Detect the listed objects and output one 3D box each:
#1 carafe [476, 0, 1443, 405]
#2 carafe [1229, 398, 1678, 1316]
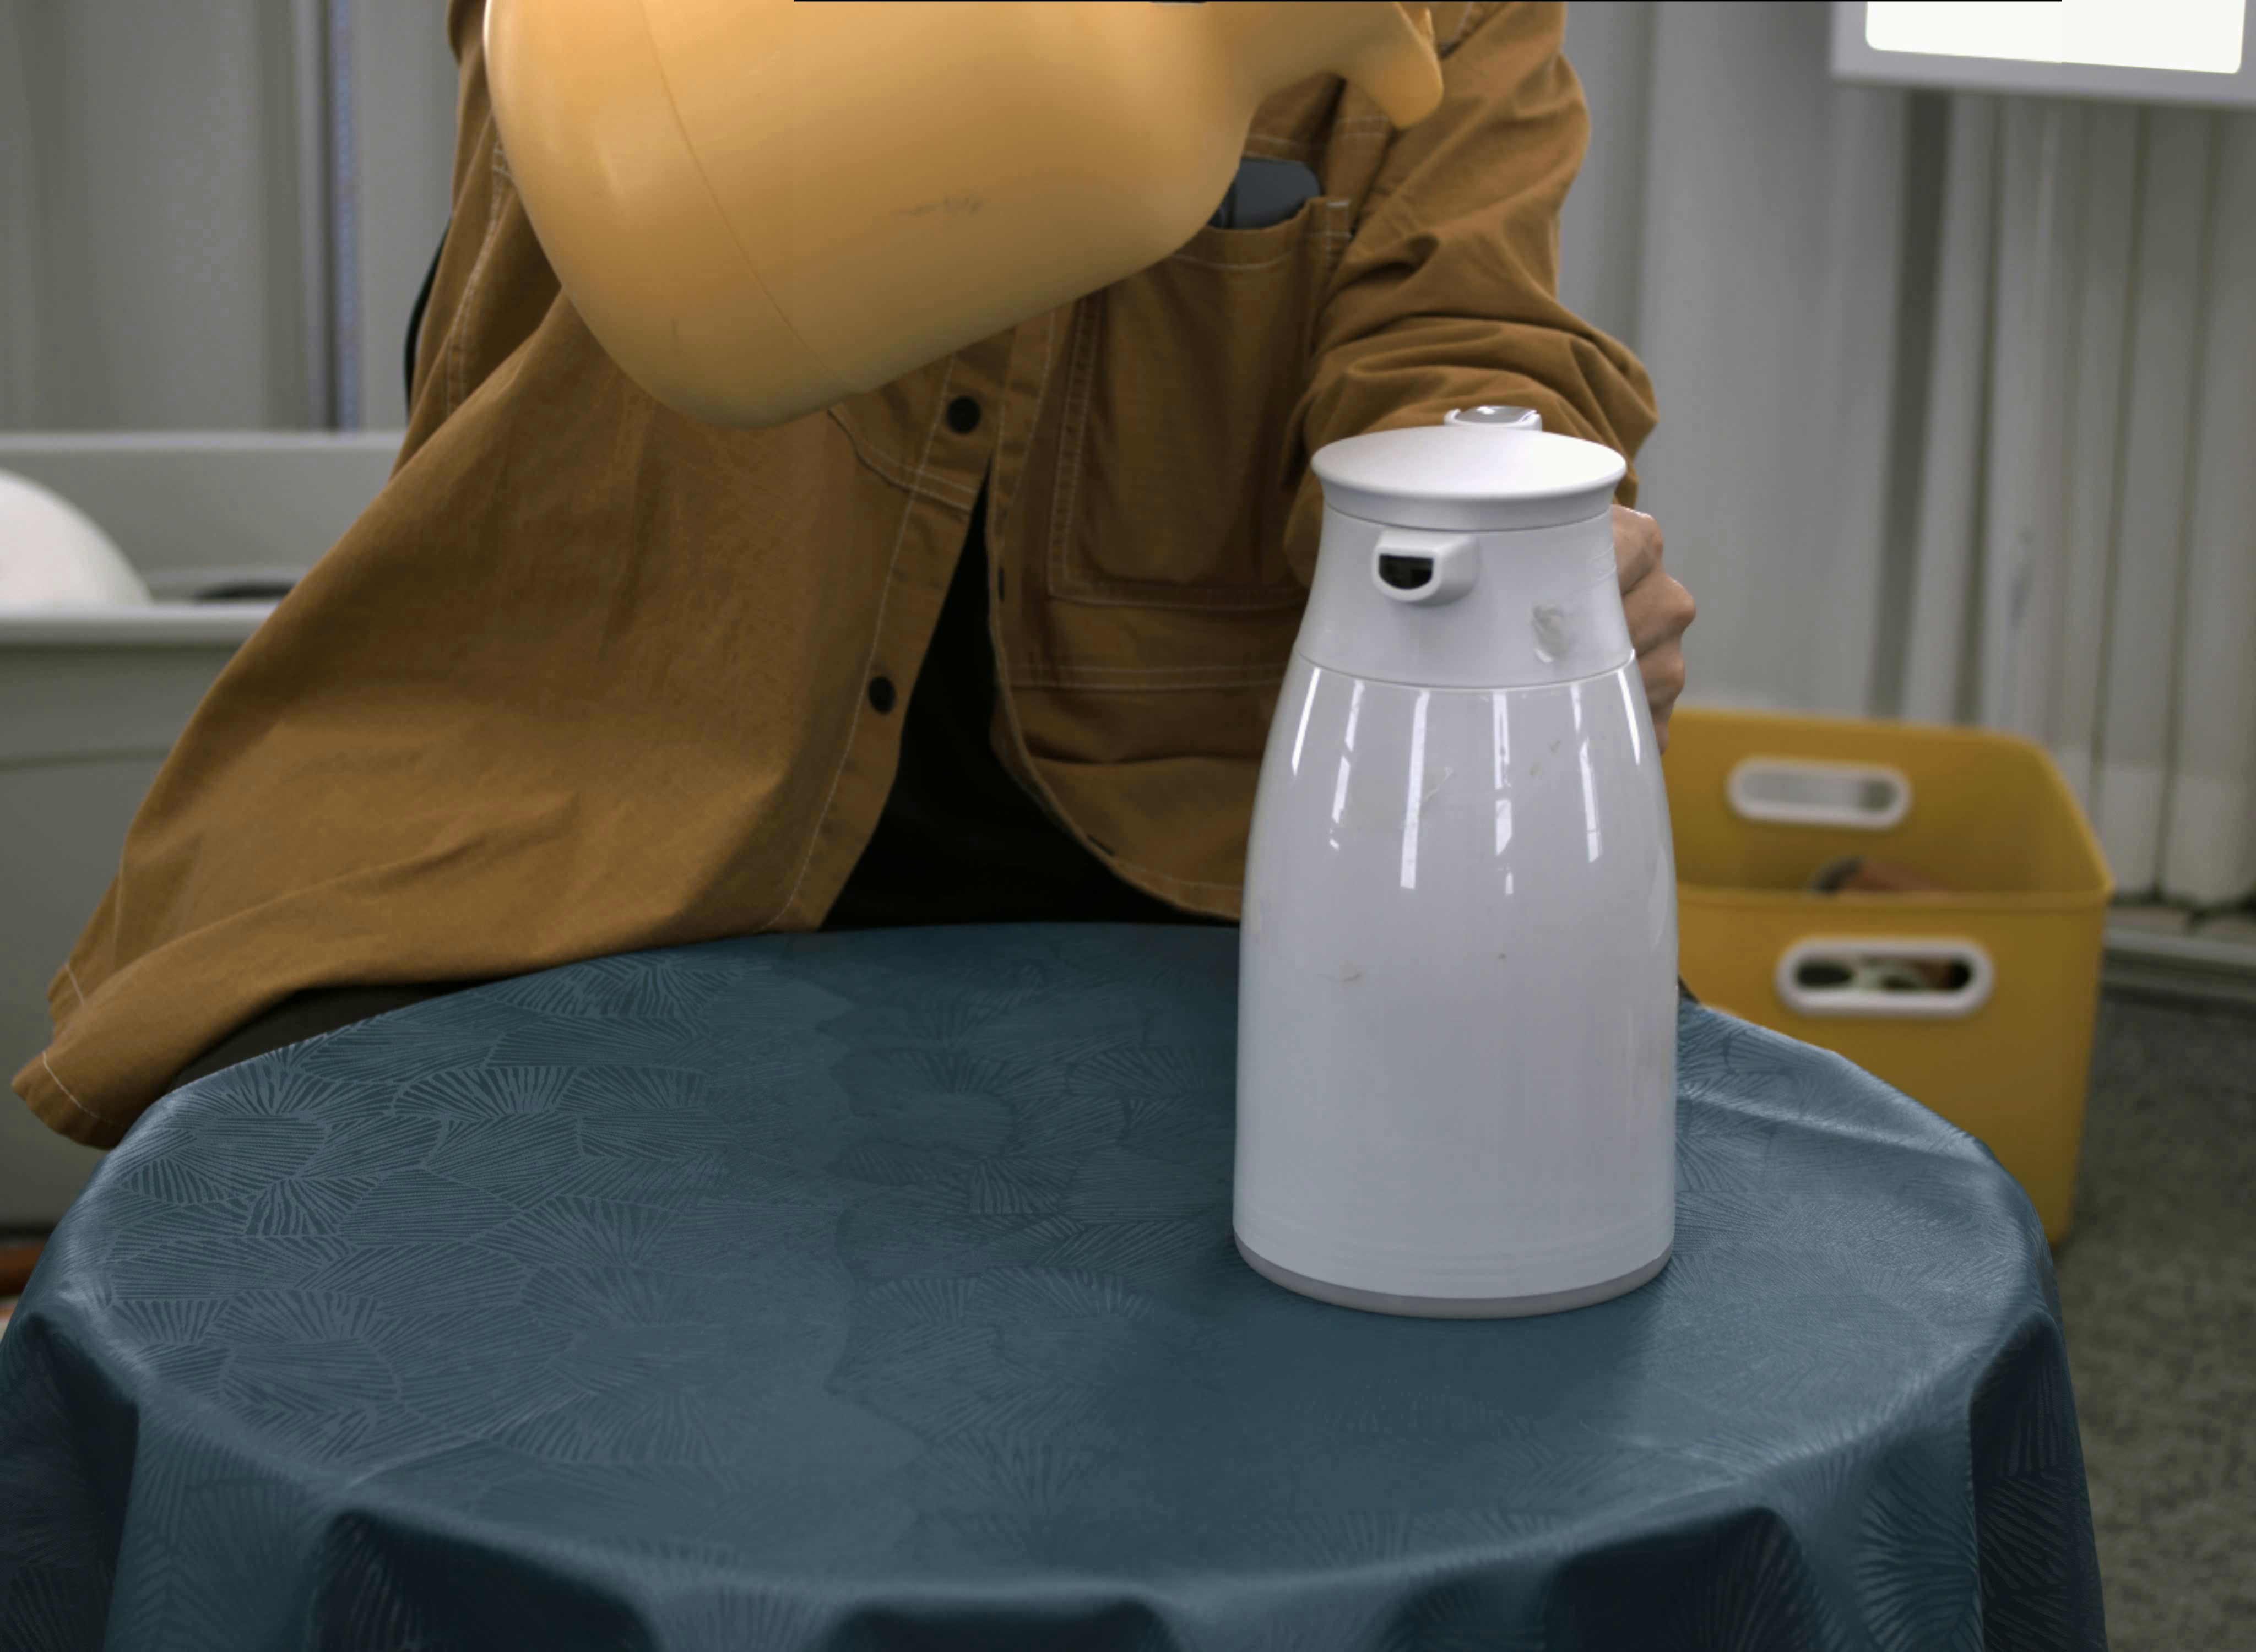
[{"bbox_3d":[-0.049,-0.245,1.467,0.259,0.204,0.162,-19,20,11],"label":"carafe"},{"bbox_3d":[0.103,0.000,1.563,0.131,0.250,0.168,6,16,17],"label":"carafe"}]
